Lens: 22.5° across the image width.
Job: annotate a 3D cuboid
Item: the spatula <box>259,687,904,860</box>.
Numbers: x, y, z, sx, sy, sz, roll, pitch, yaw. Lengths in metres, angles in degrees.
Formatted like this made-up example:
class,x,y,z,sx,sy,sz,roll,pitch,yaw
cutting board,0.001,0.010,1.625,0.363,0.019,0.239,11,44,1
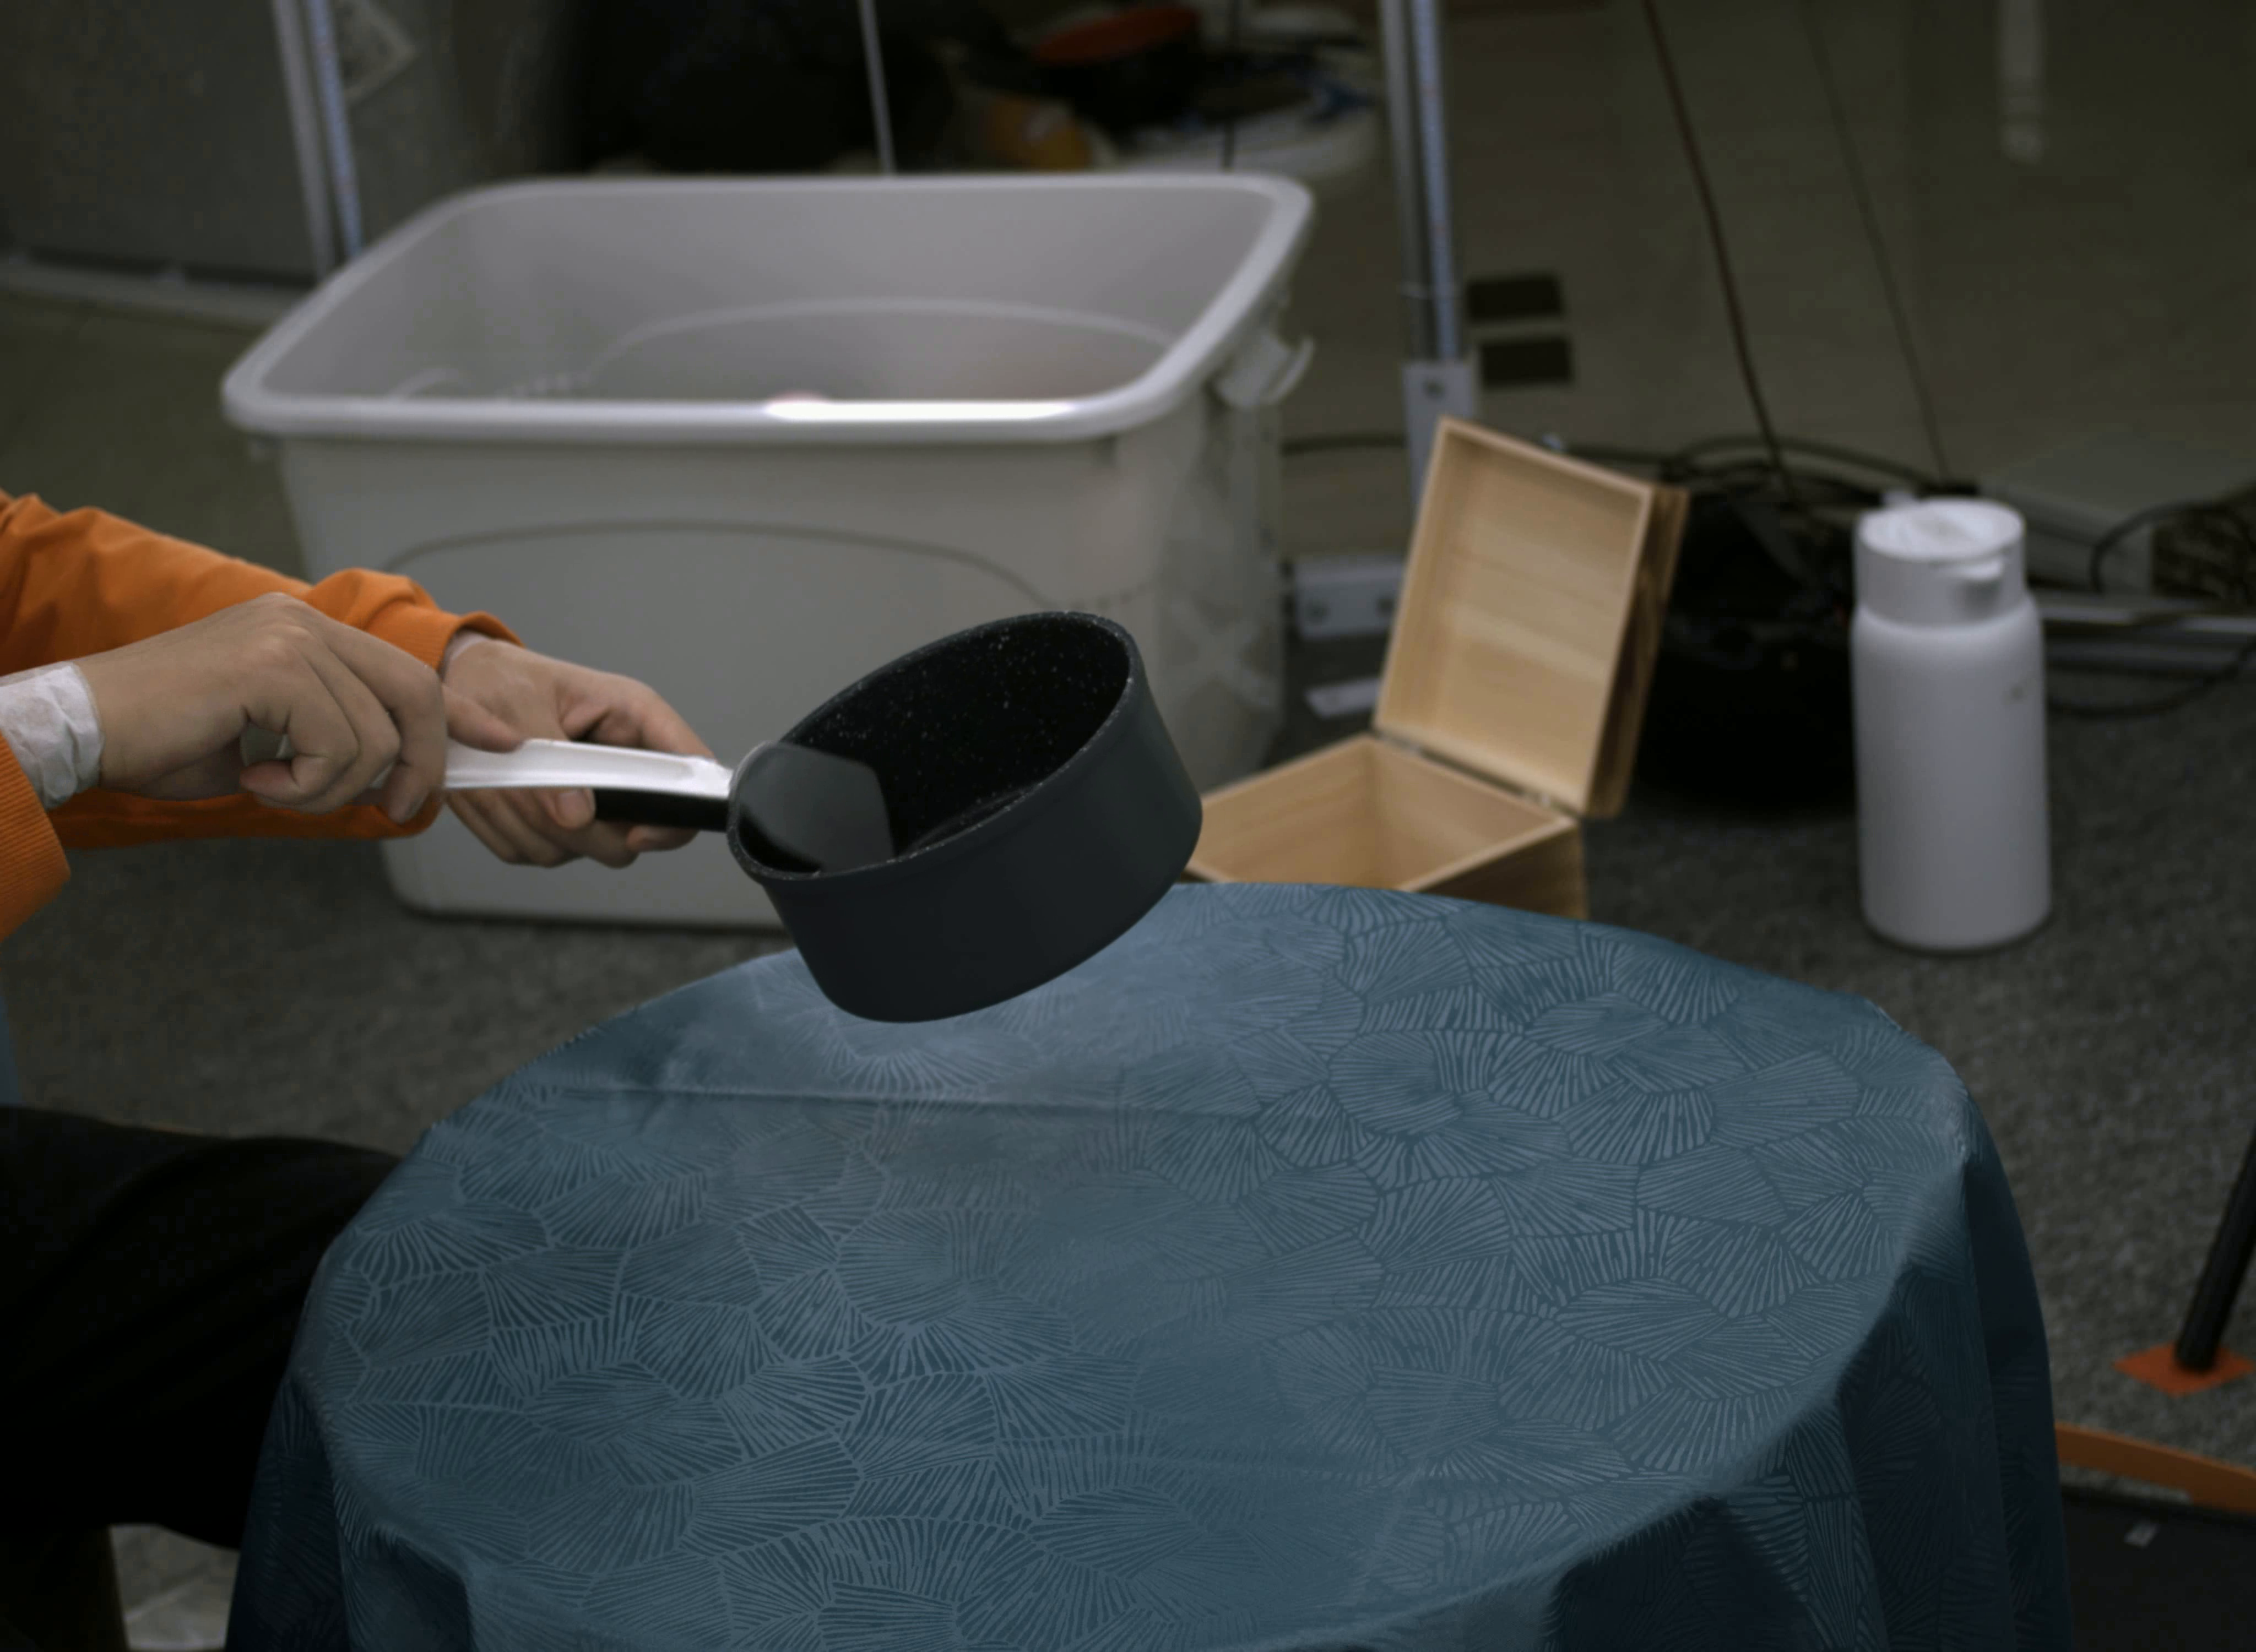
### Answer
class,x,y,z,sx,sy,sz,roll,pitch,yaw
spatula,-0.191,-0.023,2.085,0.288,0.058,0.032,6,-28,-42

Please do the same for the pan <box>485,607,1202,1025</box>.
class,x,y,z,sx,sy,sz,roll,pitch,yaw
pan,-0.120,-0.004,2.191,0.328,0.088,0.170,1,37,41
